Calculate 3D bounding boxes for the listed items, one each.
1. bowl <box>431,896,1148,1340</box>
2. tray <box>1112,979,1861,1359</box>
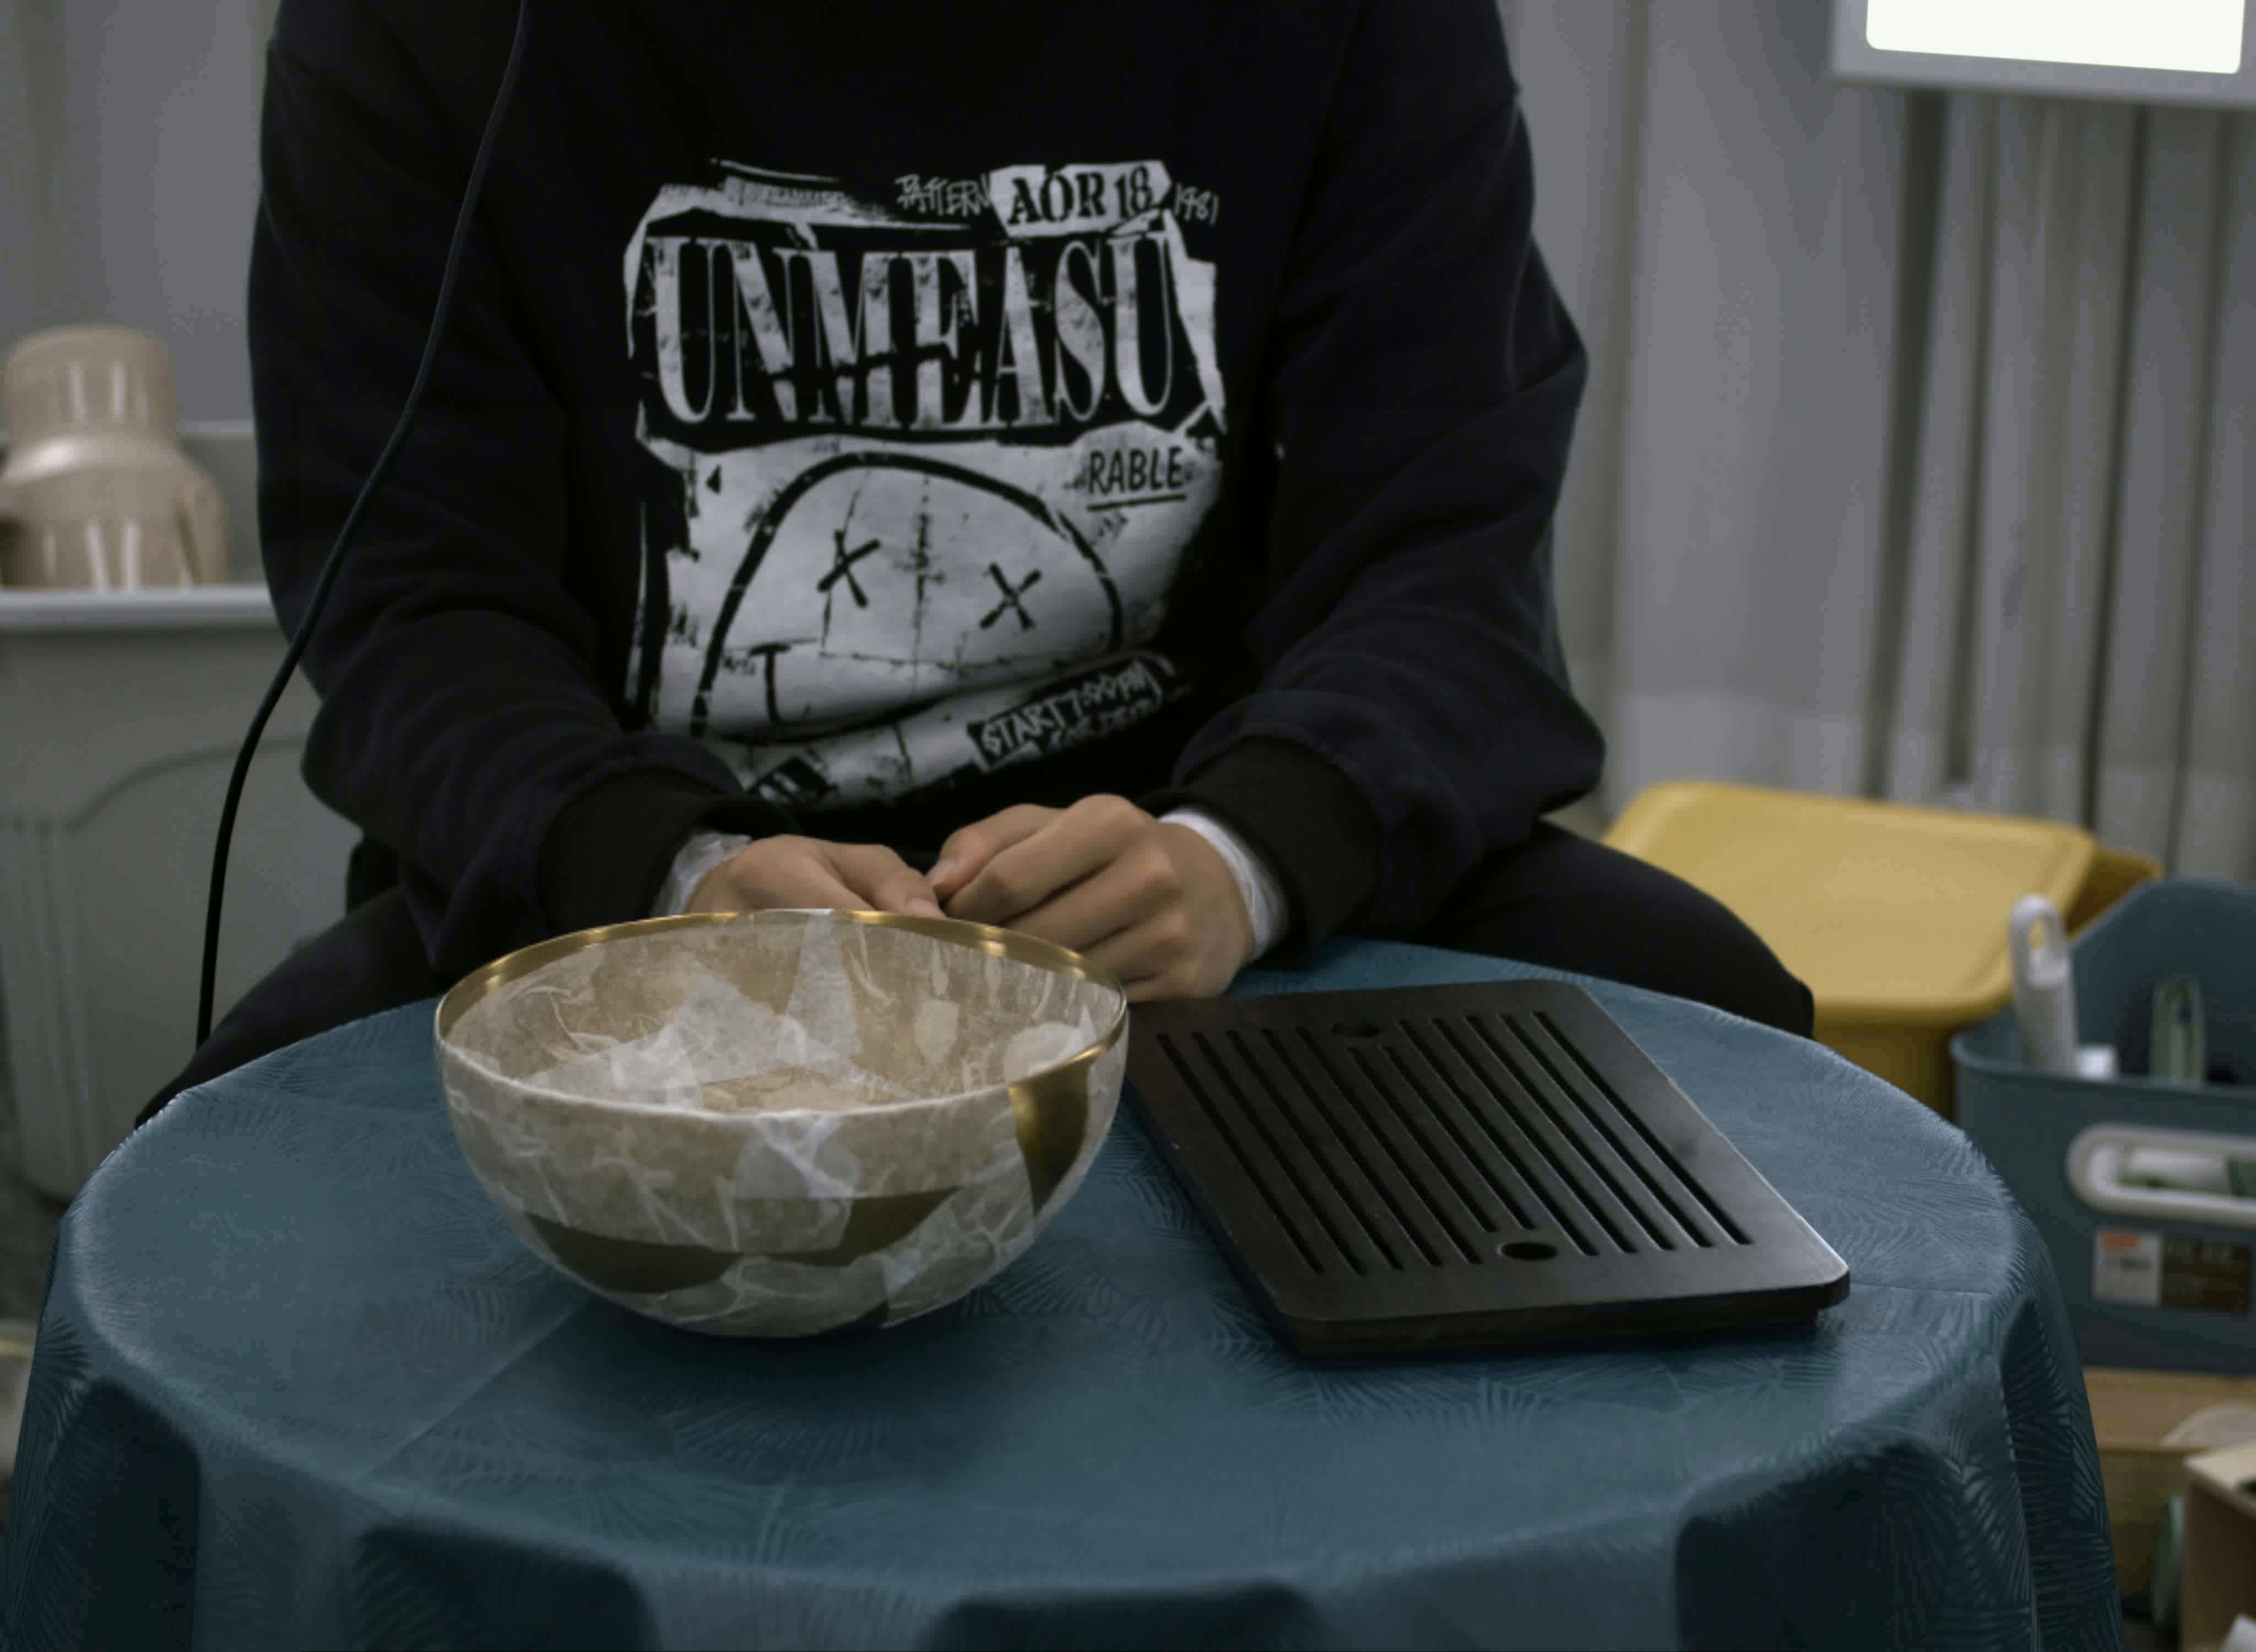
[{"bbox_3d":[-0.096,0.093,1.522,0.214,0.095,0.213,-1,16,1],"label":"bowl"},{"bbox_3d":[0.100,0.103,1.632,0.170,0.019,0.303,-2,16,-11],"label":"tray"}]
